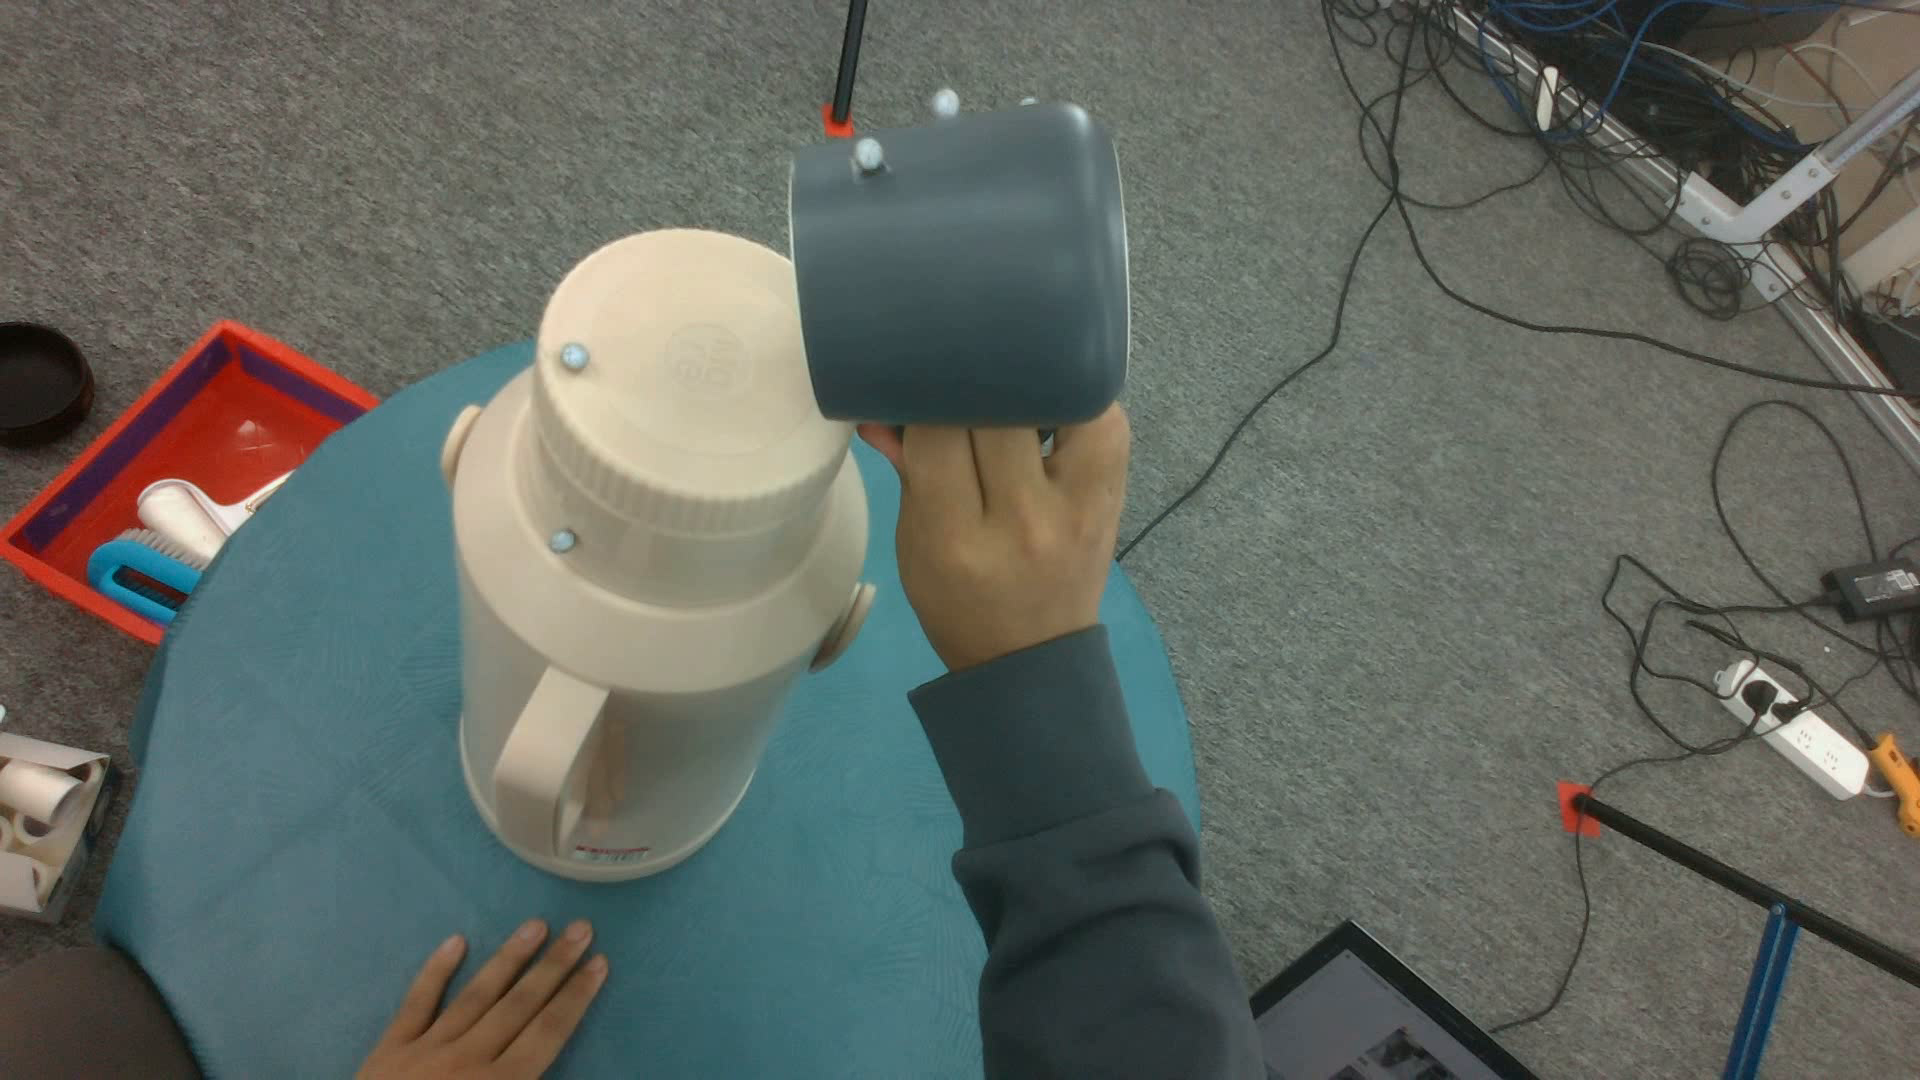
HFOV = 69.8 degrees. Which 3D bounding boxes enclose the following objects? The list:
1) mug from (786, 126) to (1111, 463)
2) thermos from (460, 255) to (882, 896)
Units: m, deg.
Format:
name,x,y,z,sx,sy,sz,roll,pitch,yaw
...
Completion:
name,x,y,z,sx,sy,sz,roll,pitch,yaw
mug,-0.001,-0.067,0.436,0.090,0.123,0.094,-6,55,2
thermos,-0.141,0.048,0.622,0.175,0.404,0.208,22,58,-6
